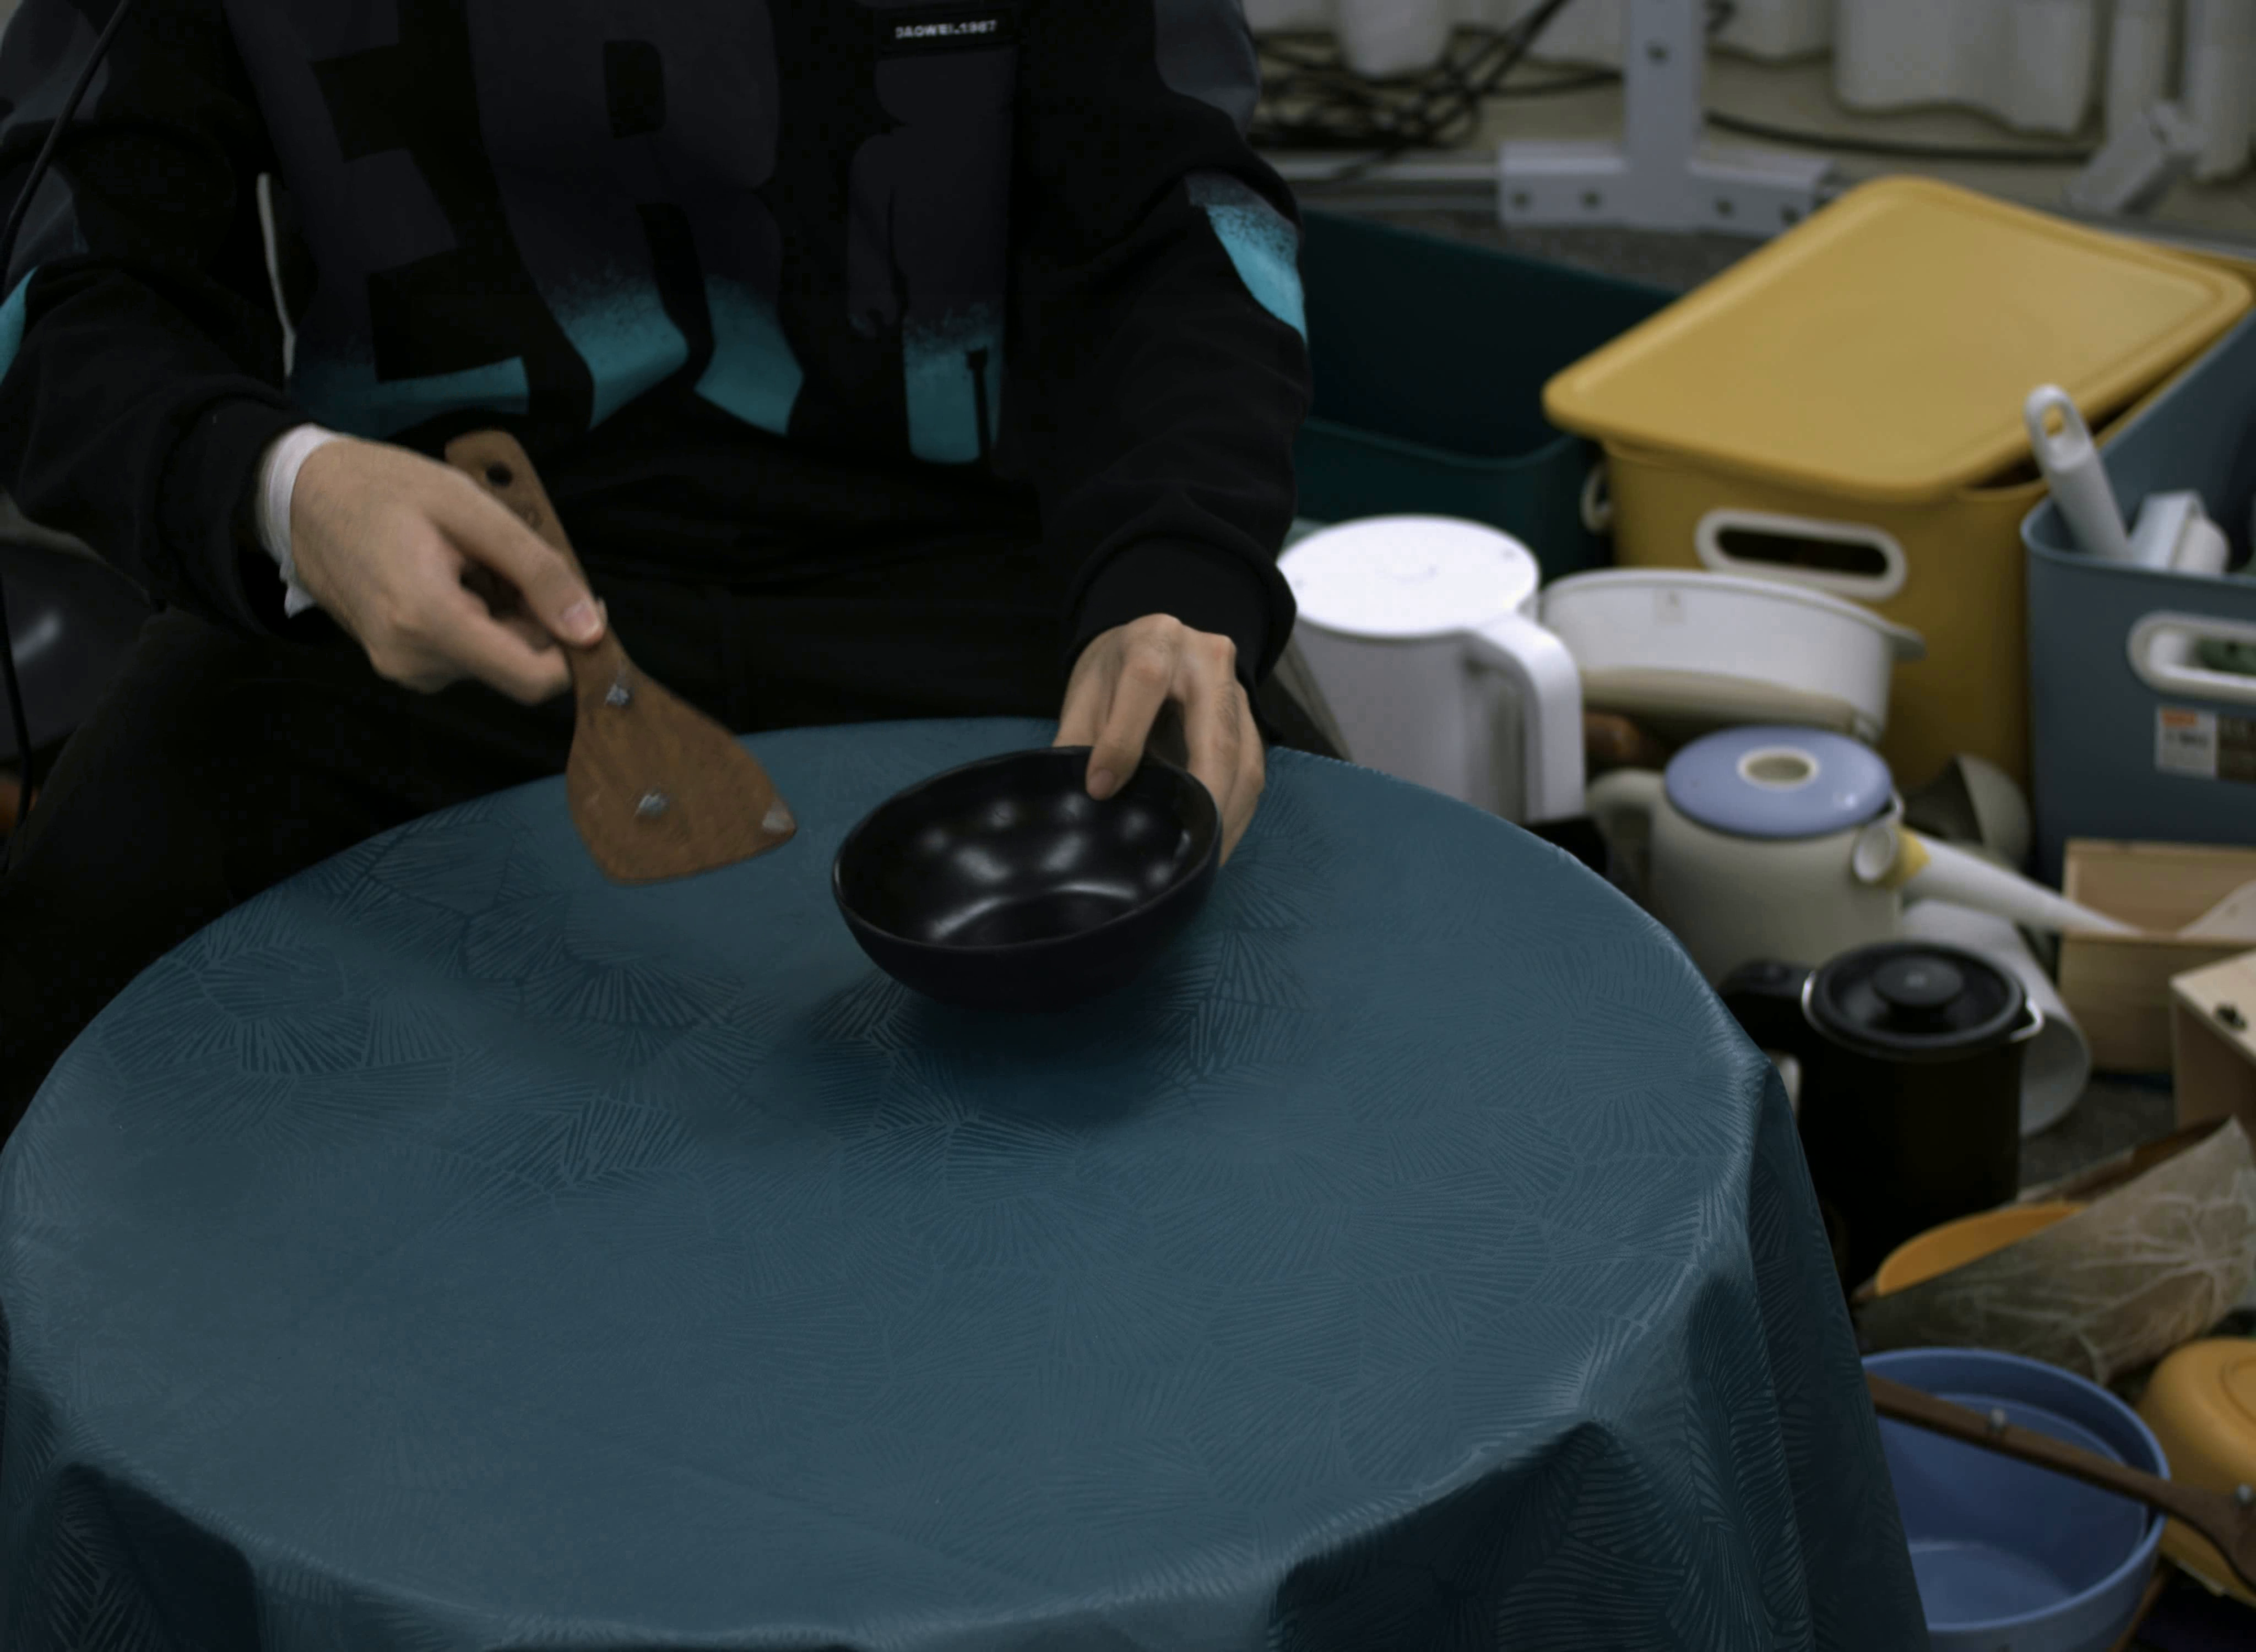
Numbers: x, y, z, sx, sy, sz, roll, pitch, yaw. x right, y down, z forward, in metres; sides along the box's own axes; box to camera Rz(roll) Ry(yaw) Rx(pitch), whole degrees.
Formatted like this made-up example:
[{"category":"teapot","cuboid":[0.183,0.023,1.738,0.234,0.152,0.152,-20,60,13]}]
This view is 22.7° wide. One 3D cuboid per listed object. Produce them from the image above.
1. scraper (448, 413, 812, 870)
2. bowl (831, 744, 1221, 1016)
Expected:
[{"category":"scraper","cuboid":[-0.184,-0.066,1.955,0.076,0.010,0.214,-15,56,-27]},{"category":"bowl","cuboid":[-0.031,0.027,1.963,0.139,0.049,0.142,-10,28,5]}]
